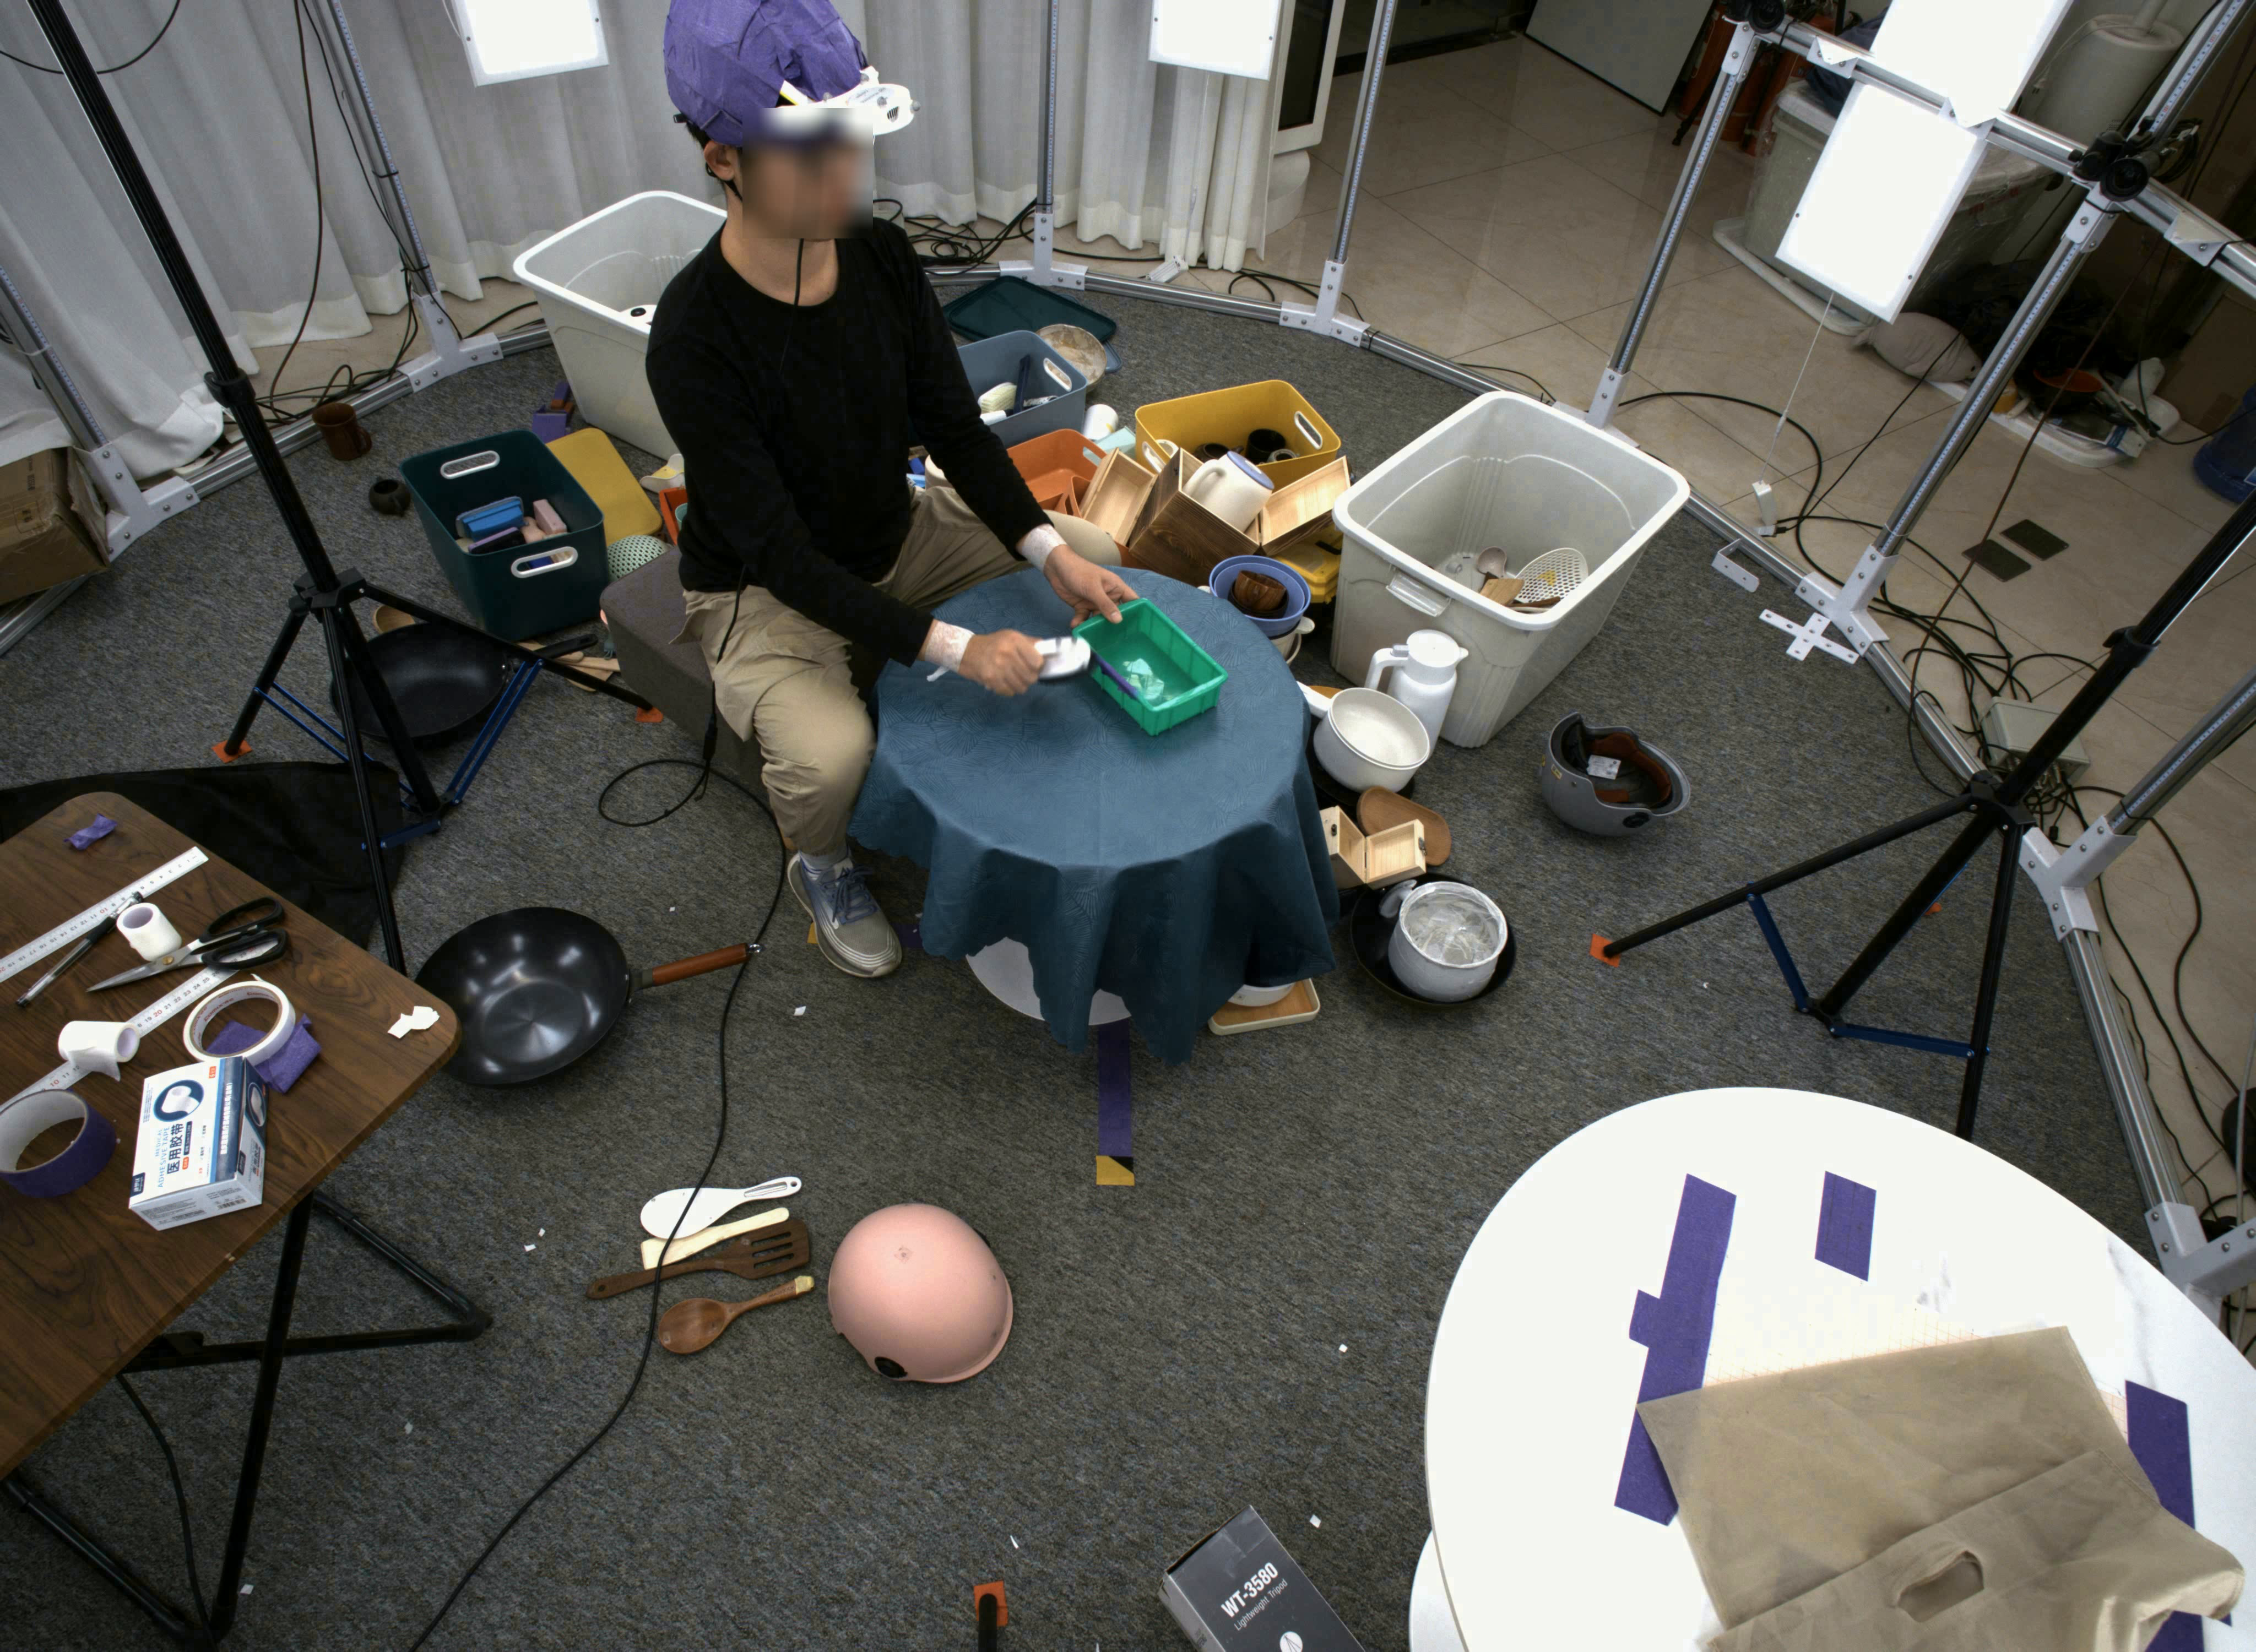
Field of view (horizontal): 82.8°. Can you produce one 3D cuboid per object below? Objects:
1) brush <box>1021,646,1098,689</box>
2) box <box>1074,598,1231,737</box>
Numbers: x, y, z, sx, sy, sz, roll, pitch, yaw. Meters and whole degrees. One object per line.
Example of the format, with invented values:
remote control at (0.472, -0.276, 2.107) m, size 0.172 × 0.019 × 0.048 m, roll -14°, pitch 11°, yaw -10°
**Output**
brush at (-0.099, -0.221, 1.737) m, size 0.099 × 0.071 × 0.051 m, roll 0°, pitch 75°, yaw 28°
box at (0.032, -0.224, 1.826) m, size 0.139 × 0.064 × 0.214 m, roll -30°, pitch 59°, yaw -24°
